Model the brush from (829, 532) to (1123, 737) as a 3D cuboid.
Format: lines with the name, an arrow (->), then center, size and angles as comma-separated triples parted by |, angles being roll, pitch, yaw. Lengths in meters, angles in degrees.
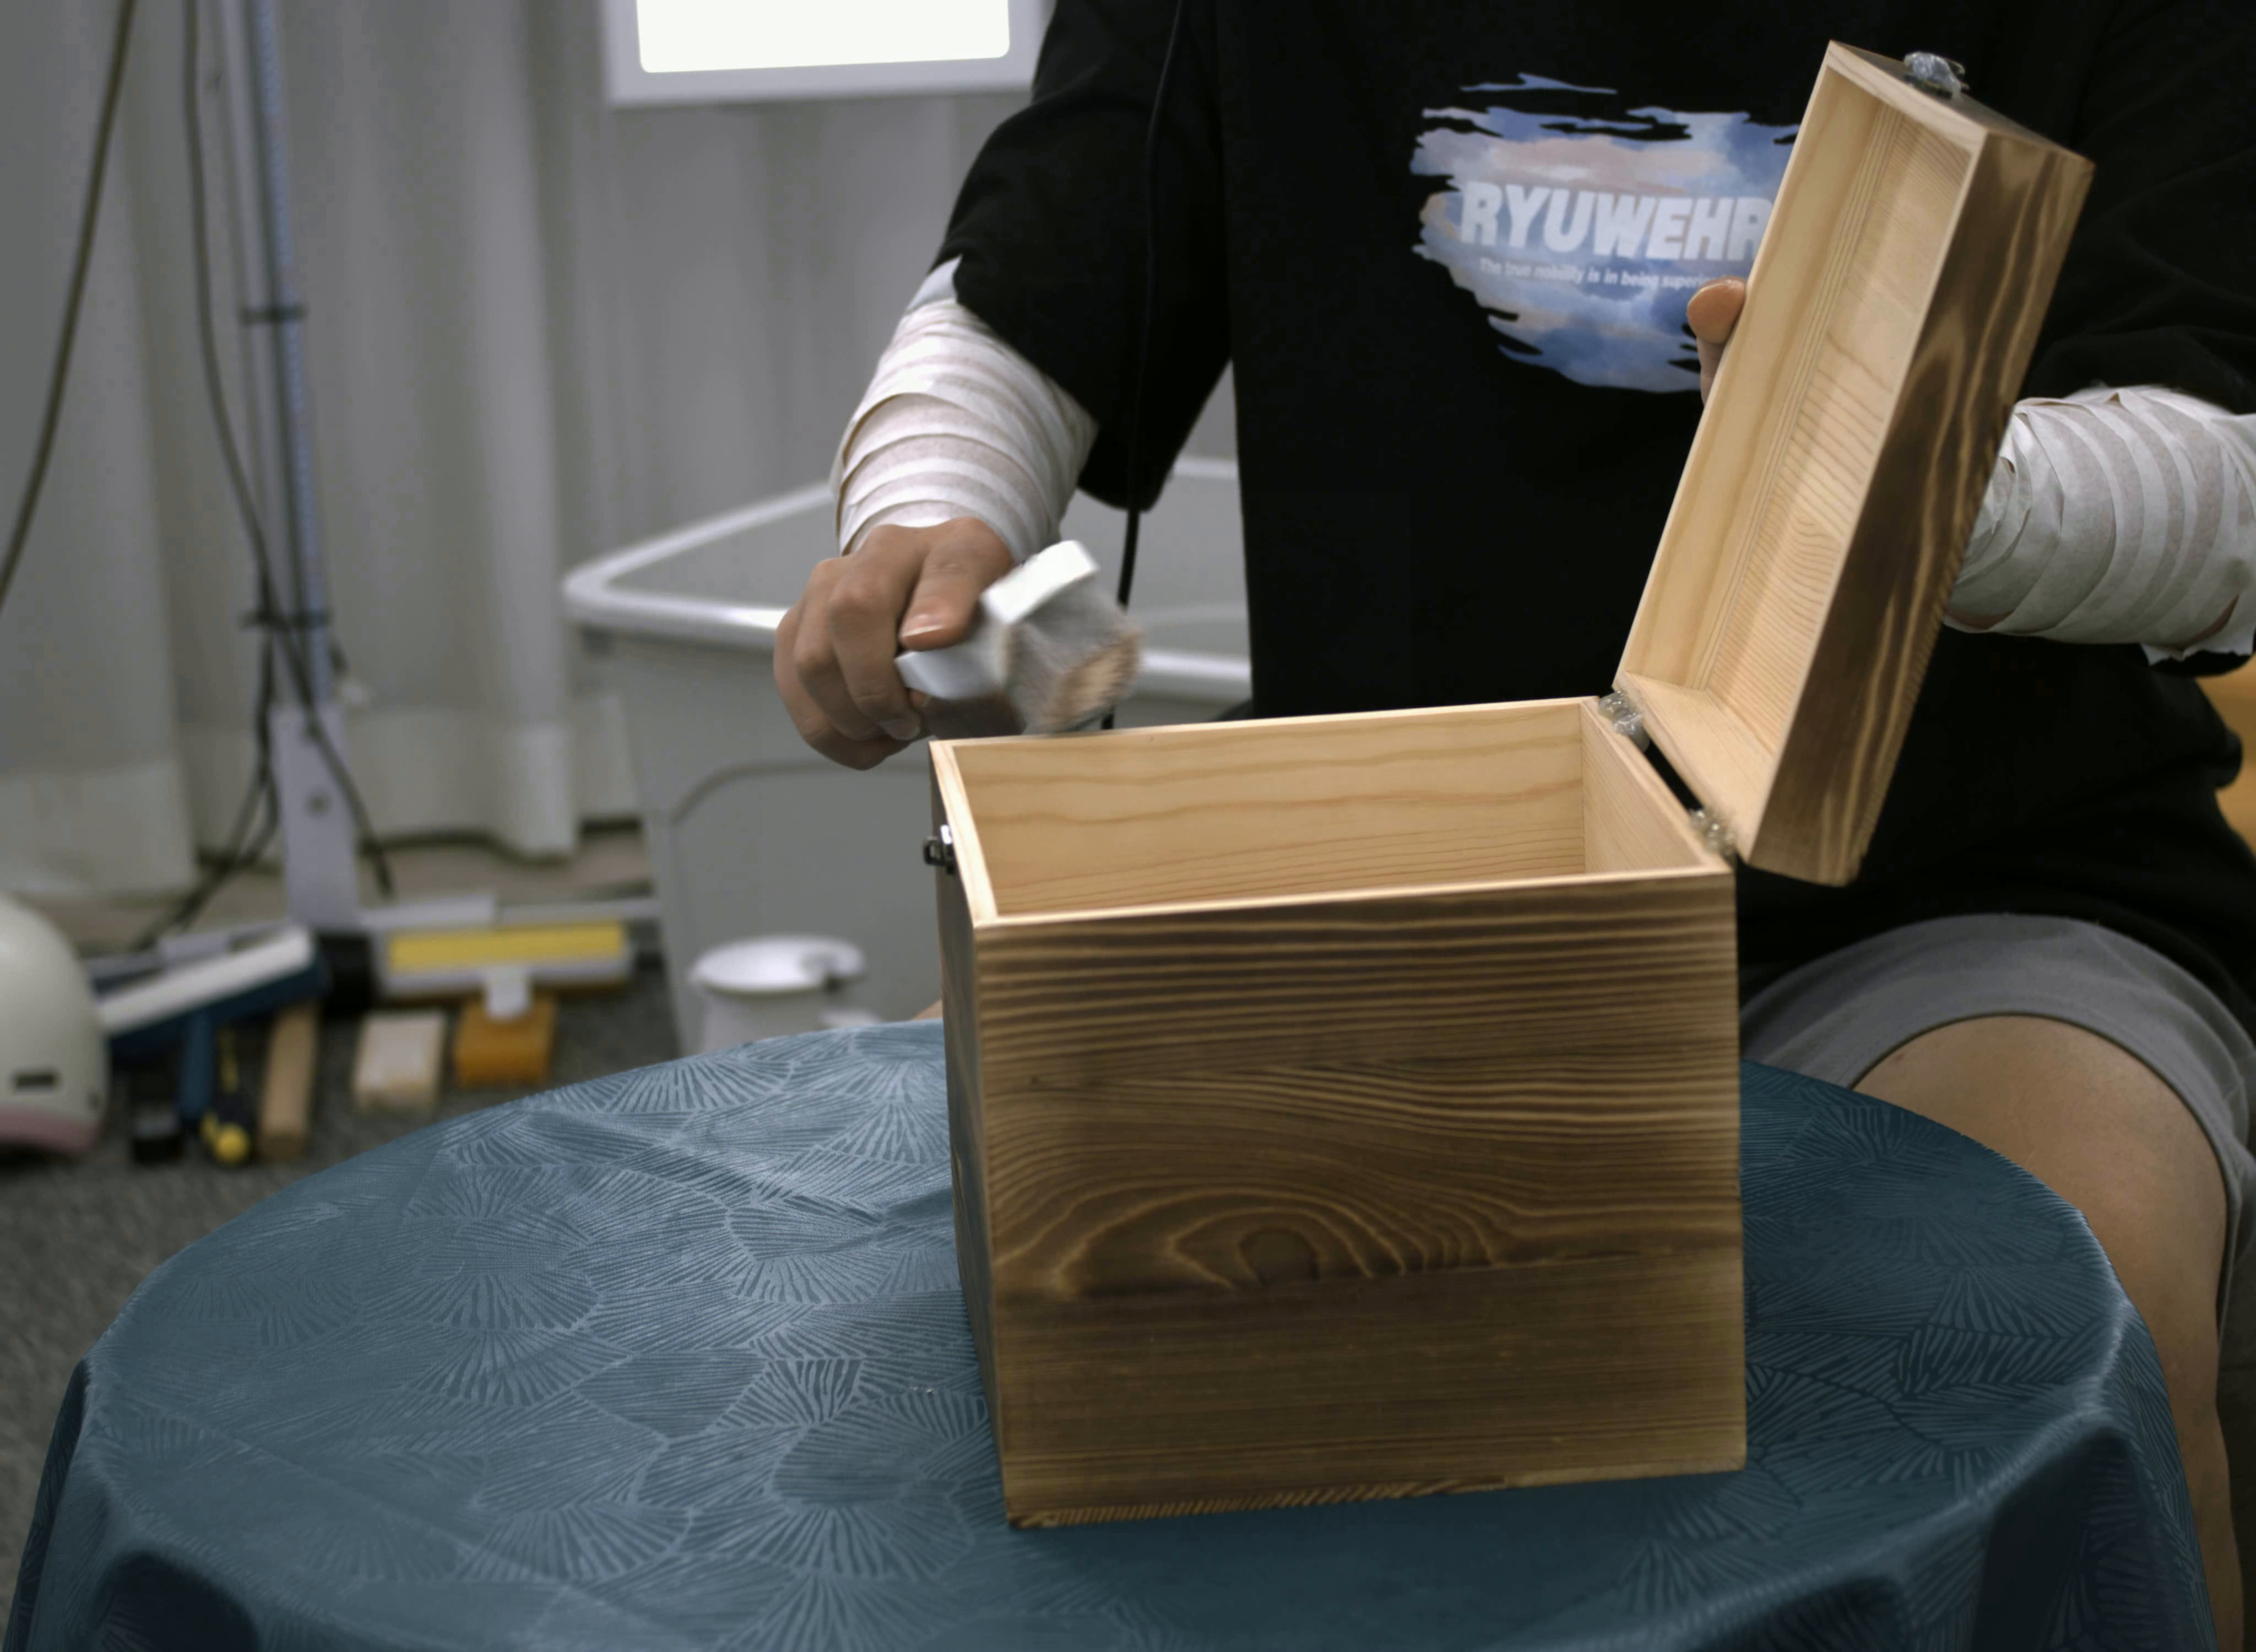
brush -> -0.048, -0.043, 1.676 | 0.034, 0.050, 0.243 | -33, 1, -17

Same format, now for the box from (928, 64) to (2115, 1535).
box -> 0.103, -0.020, 1.516 | 0.321, 0.374, 0.210 | -2, 12, -5
